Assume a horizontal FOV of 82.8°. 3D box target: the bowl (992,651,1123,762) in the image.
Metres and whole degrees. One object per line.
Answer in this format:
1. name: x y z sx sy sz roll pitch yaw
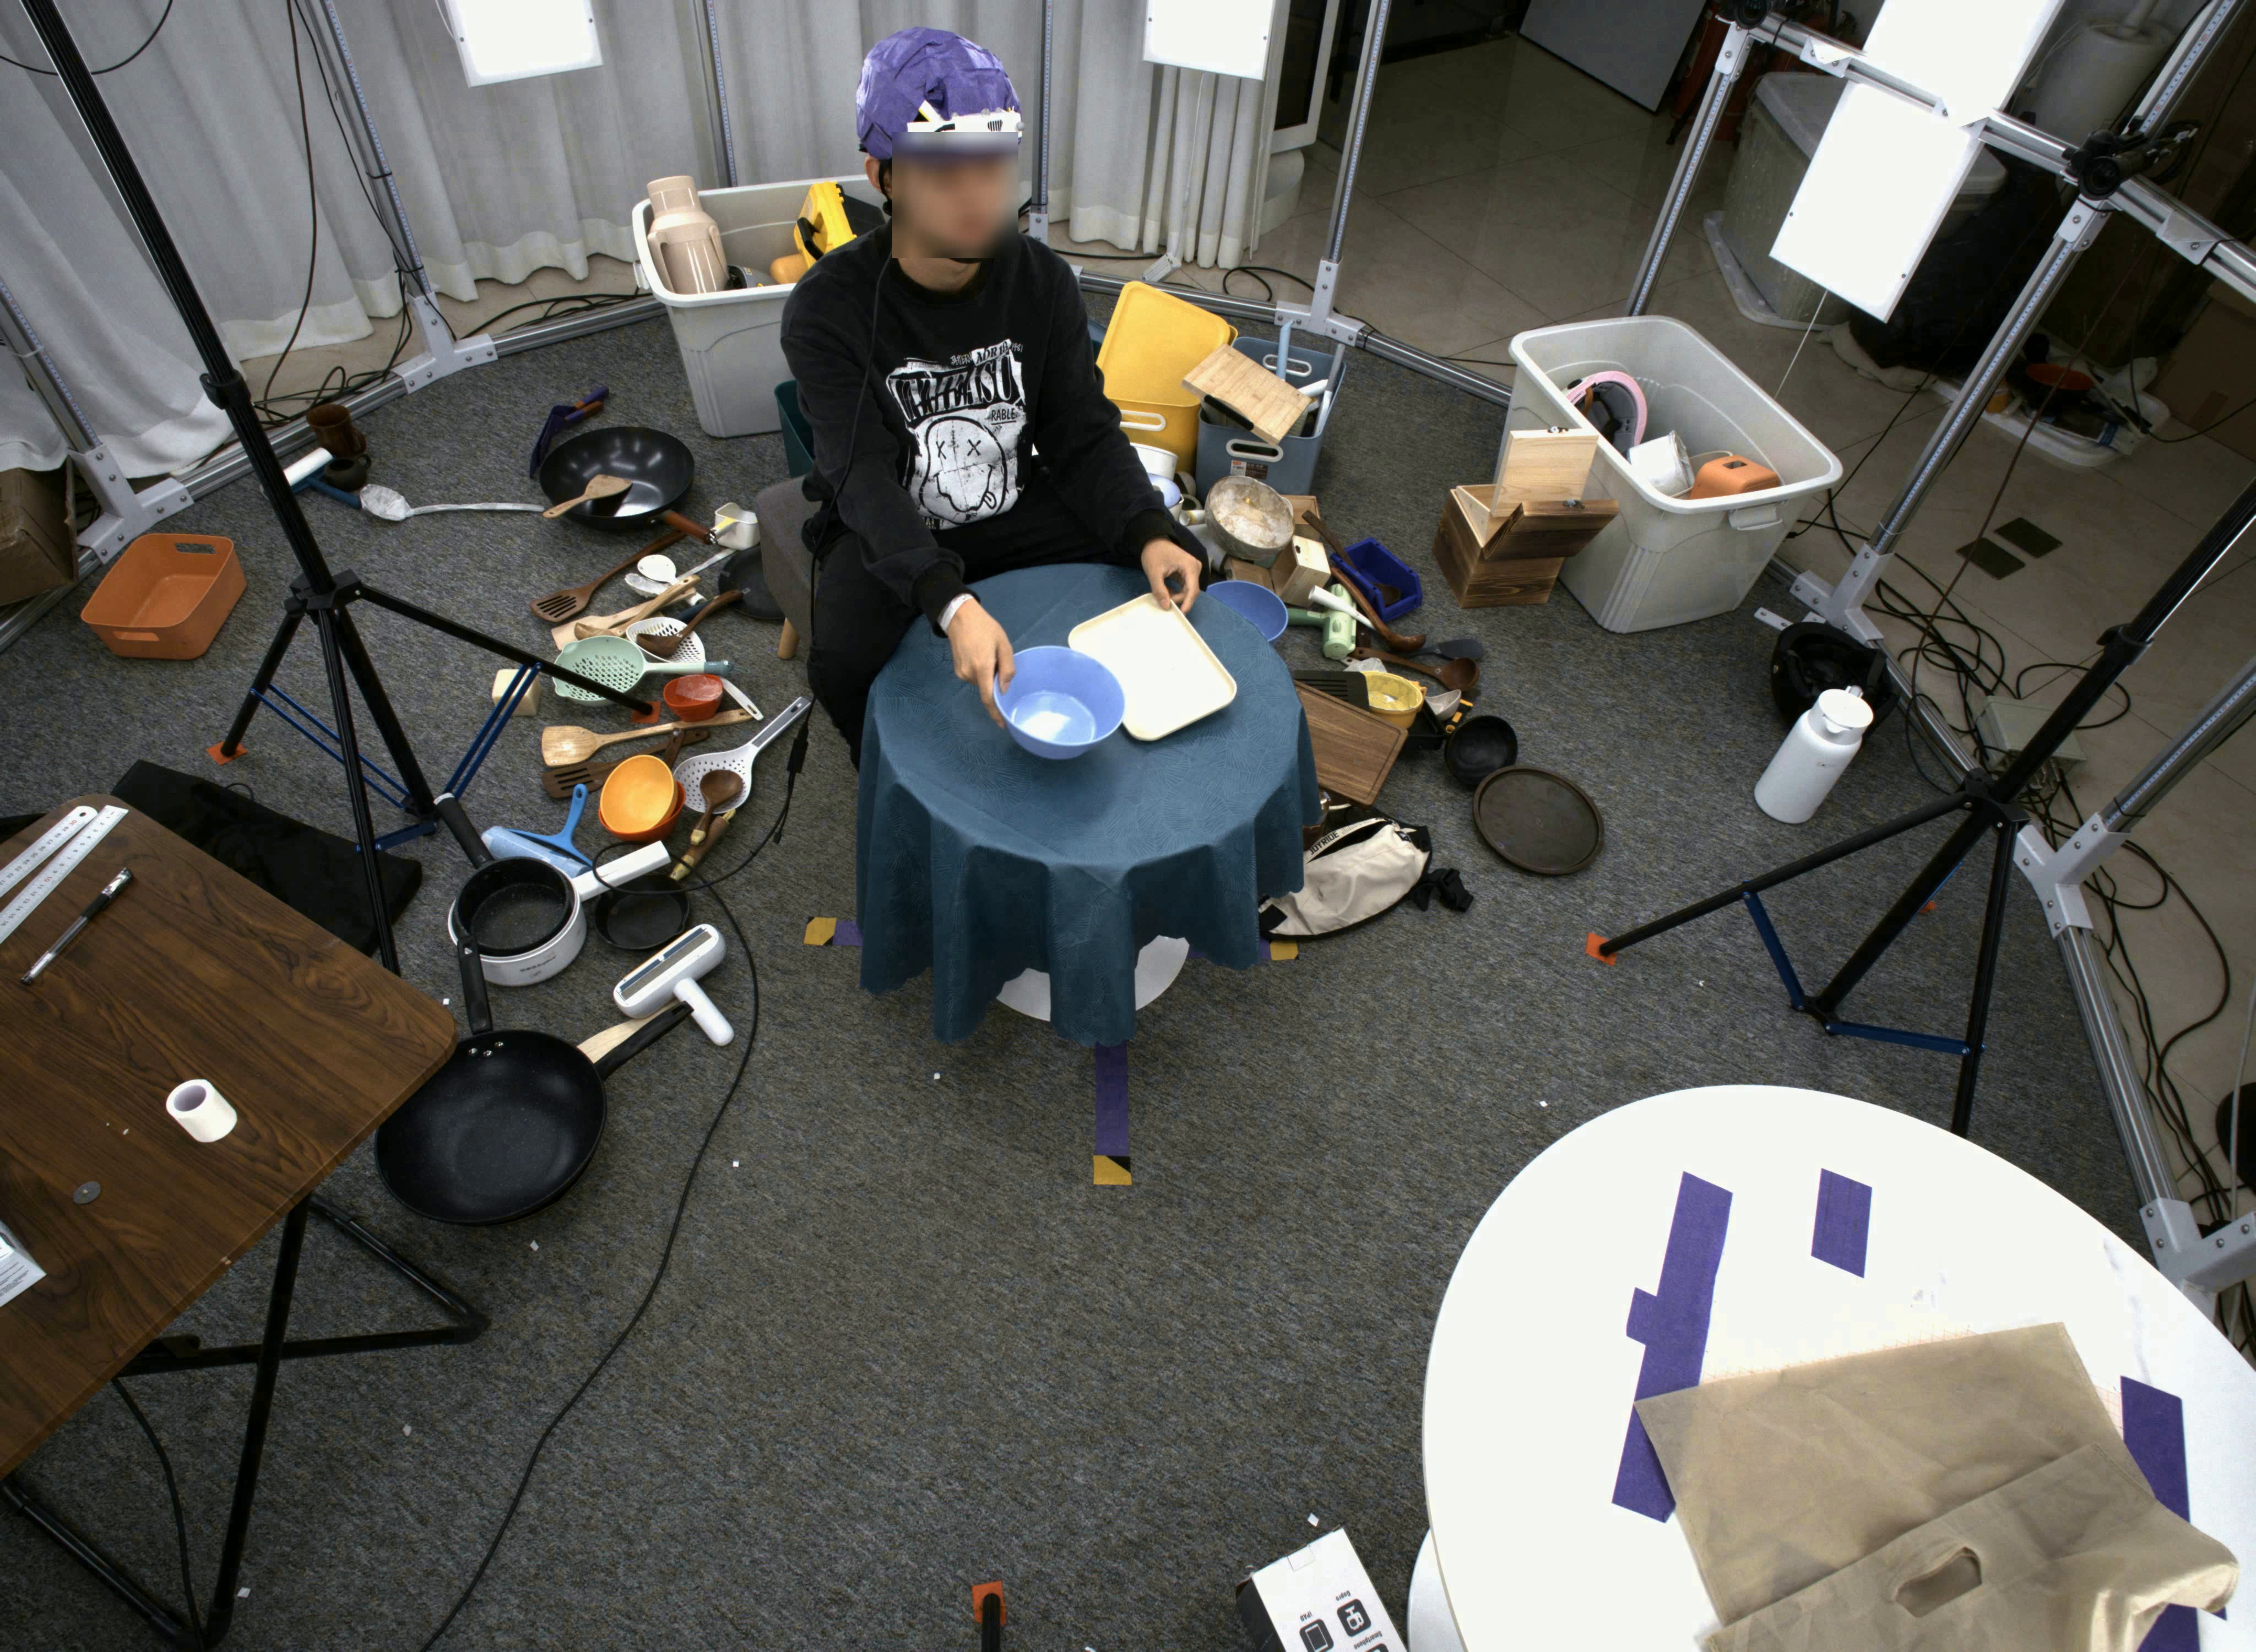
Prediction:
1. bowl: -0.099 -0.150 1.716 0.175 0.069 0.180 8 49 -10

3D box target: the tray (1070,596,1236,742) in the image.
1. tray: 0.034 -0.228 1.854 0.171 0.017 0.245 -26 57 -12
